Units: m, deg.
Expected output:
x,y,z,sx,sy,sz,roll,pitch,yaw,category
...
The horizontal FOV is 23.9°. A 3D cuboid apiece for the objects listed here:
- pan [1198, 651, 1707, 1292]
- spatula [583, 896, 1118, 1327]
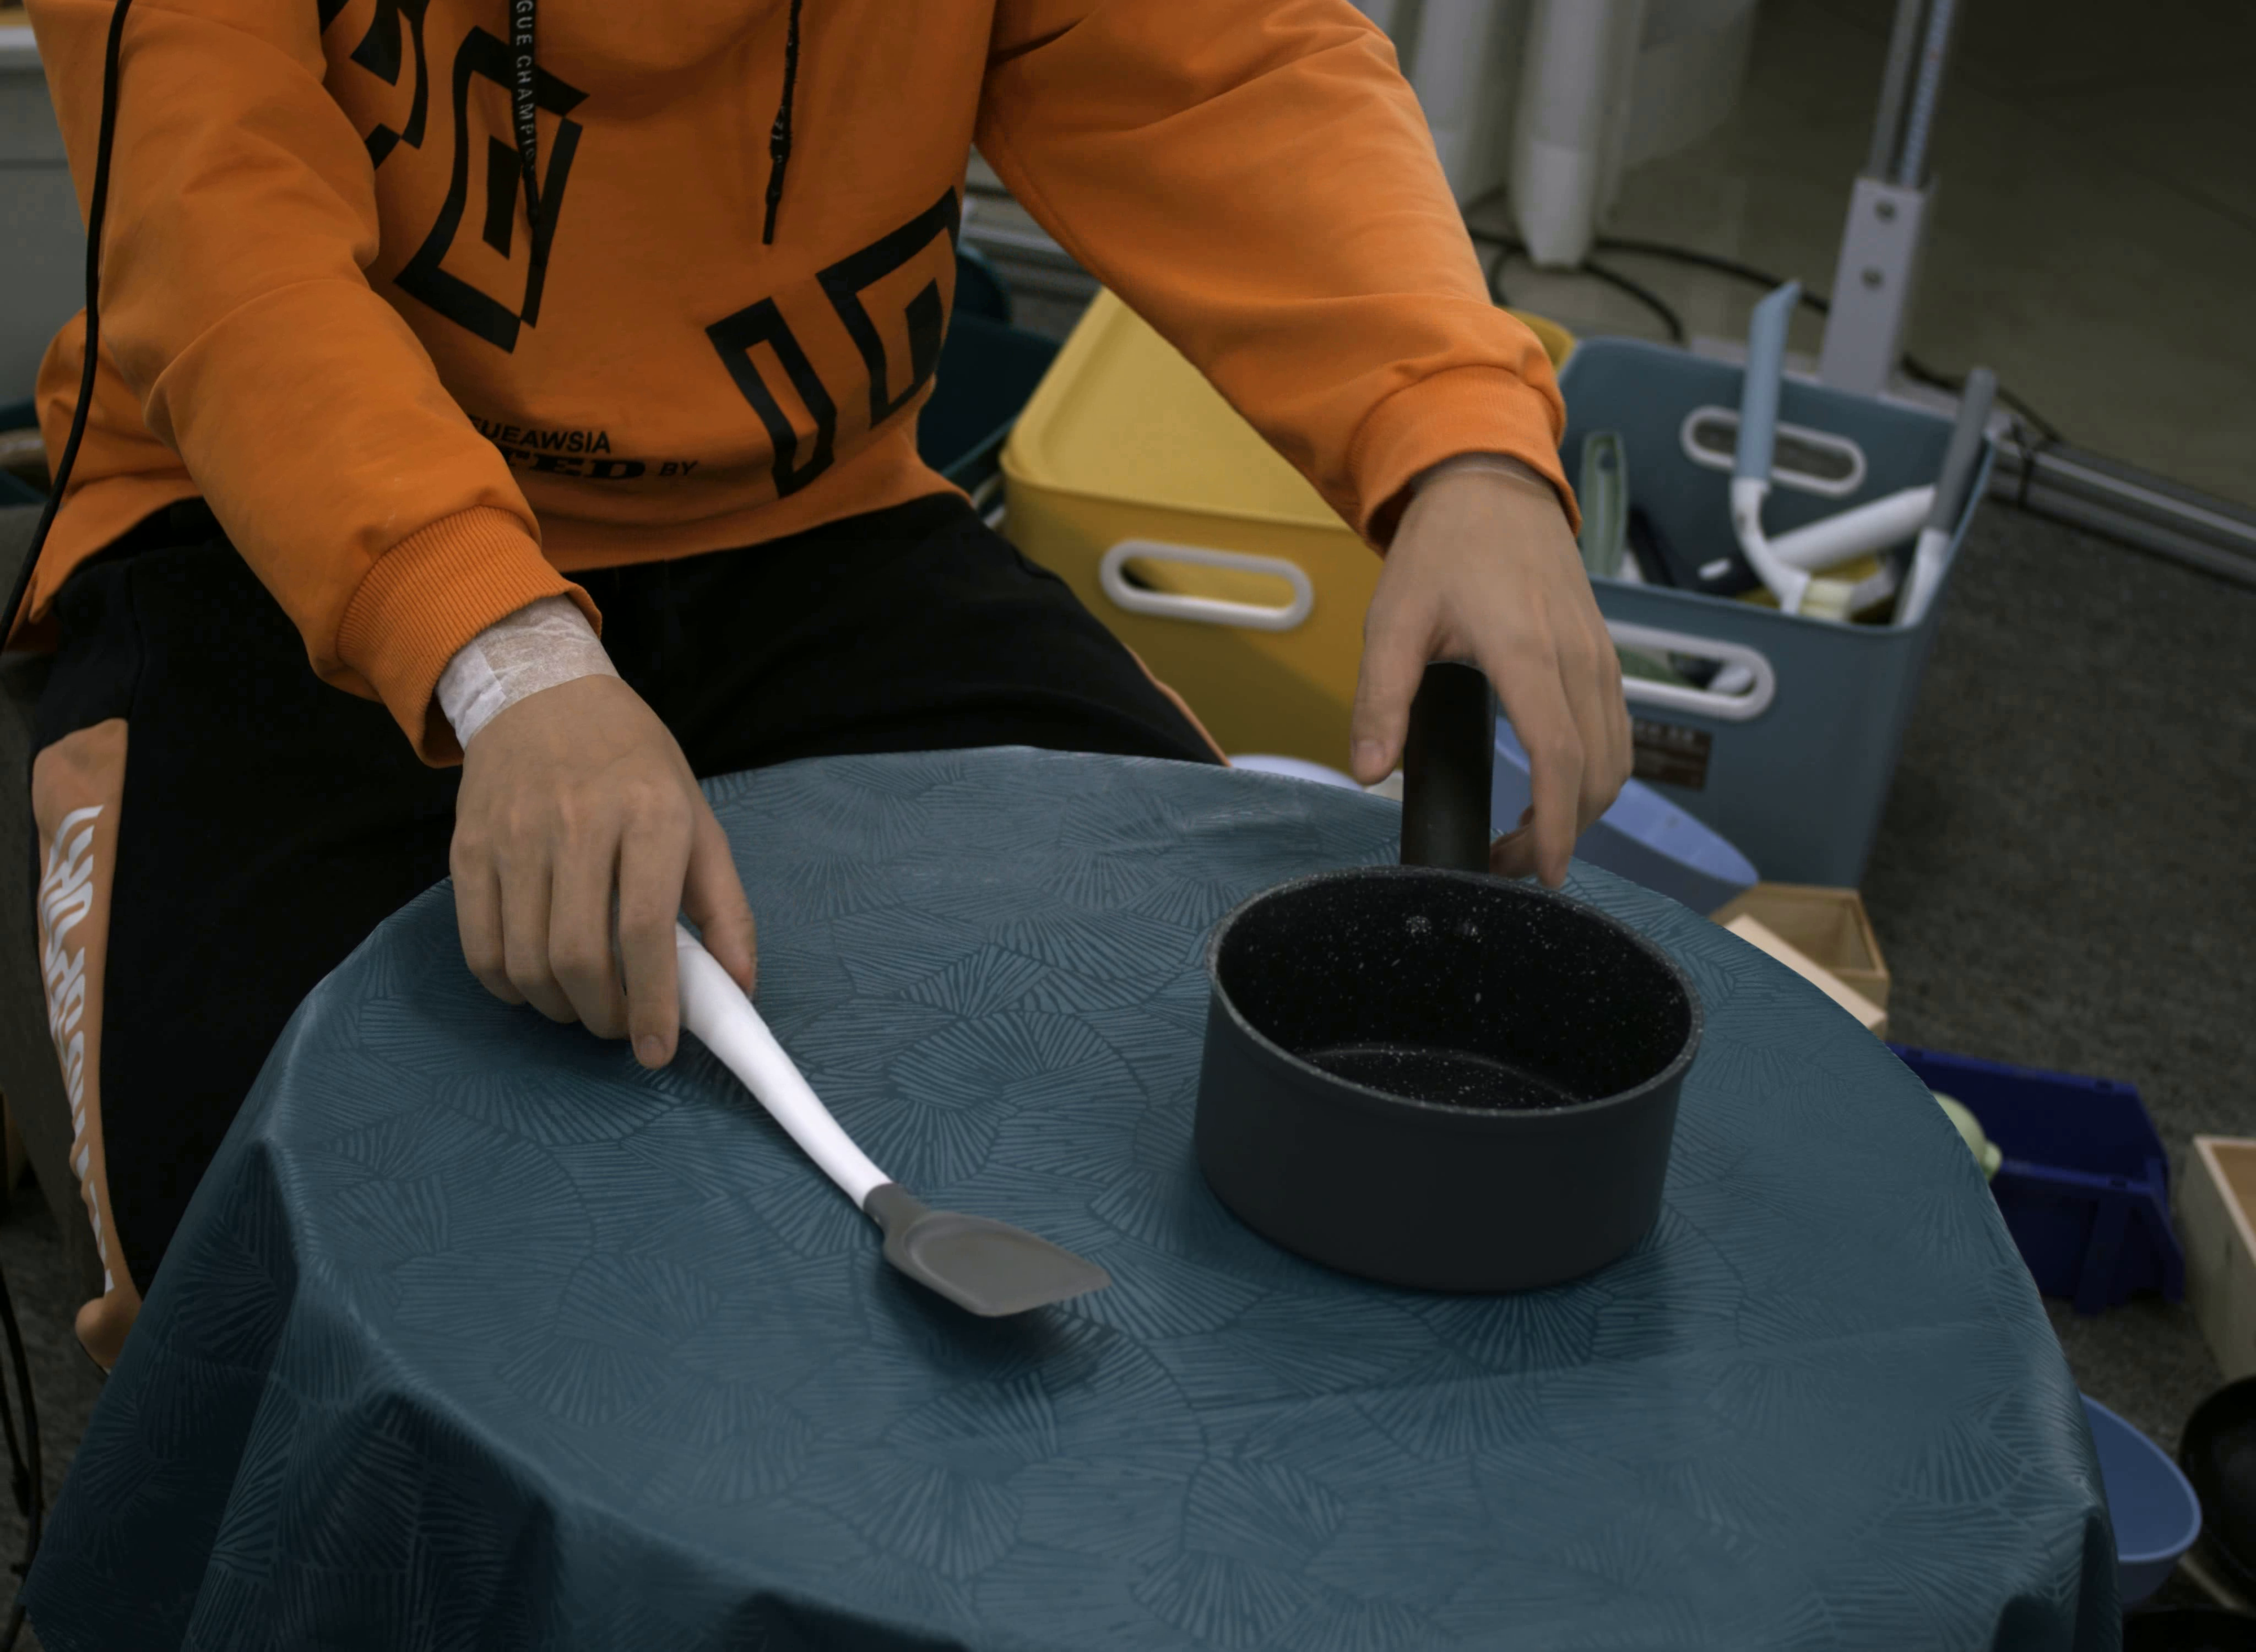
x,y,z,sx,sy,sz,roll,pitch,yaw,category
0.114,0.047,1.884,0.171,0.086,0.330,8,29,2,pan
-0.101,0.100,1.792,0.058,0.032,0.290,-9,30,-33,spatula
